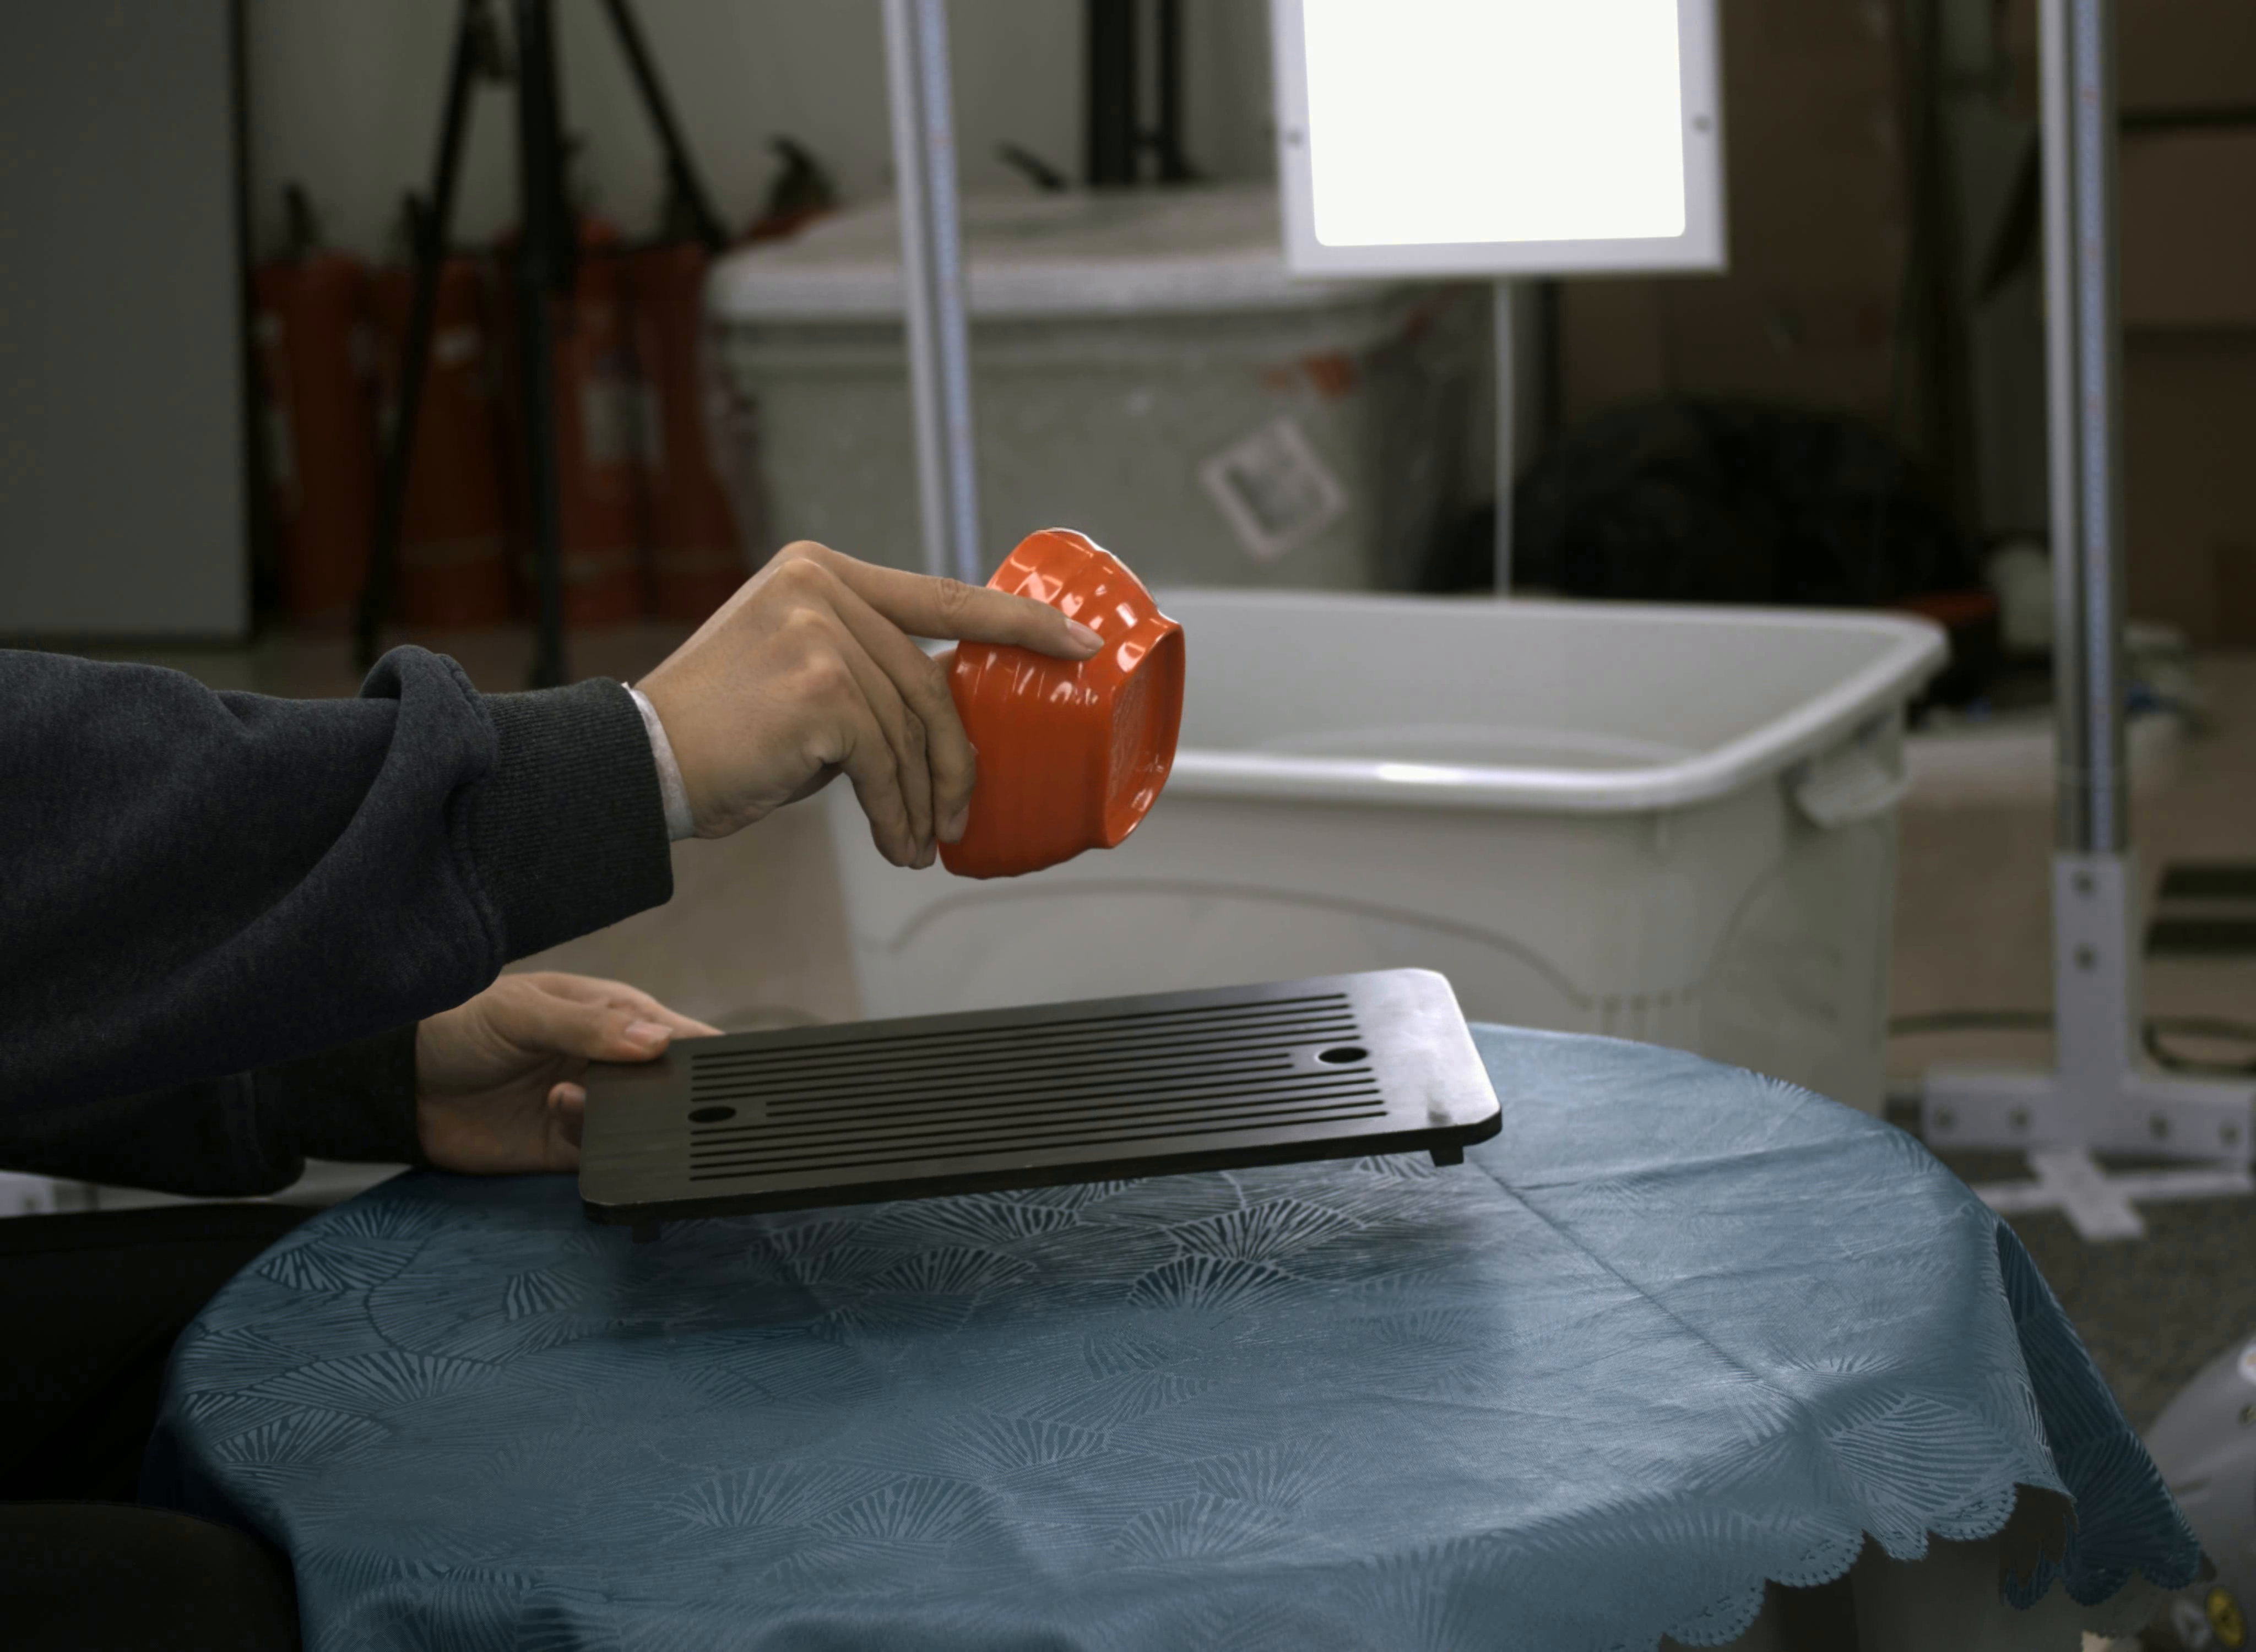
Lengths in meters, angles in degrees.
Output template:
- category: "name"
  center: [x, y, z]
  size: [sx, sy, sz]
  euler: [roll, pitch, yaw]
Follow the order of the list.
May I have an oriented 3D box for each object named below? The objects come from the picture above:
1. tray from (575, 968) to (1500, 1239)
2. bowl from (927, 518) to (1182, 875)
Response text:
- category: "tray"
  center: [-0.033, 0.094, 1.869]
  size: [0.305, 0.019, 0.170]
  euler: [-6, 16, -1]
- category: "bowl"
  center: [-0.019, -0.036, 1.755]
  size: [0.052, 0.120, 0.116]
  euler: [17, 20, 18]
